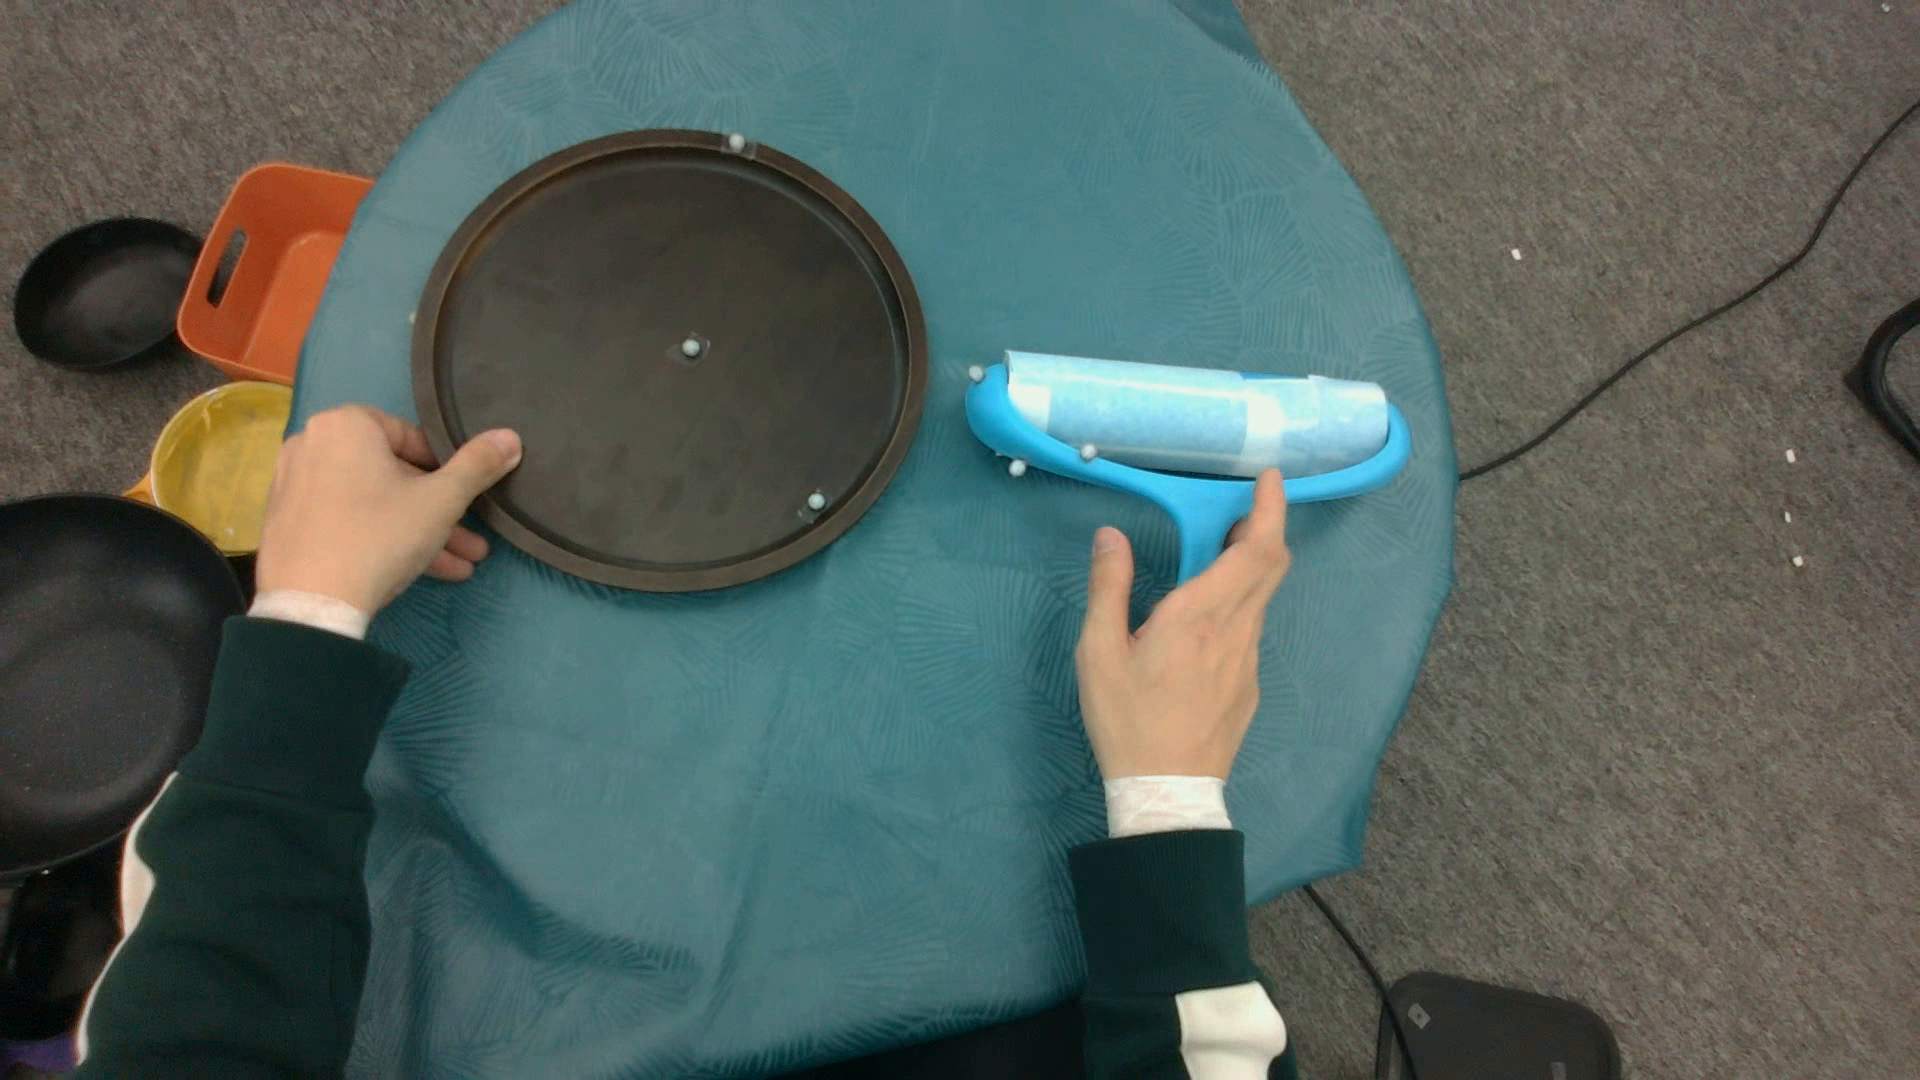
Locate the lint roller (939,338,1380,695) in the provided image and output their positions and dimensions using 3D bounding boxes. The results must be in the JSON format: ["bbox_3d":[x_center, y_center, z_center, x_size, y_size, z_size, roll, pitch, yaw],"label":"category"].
[{"bbox_3d":[0.106,-0.017,0.690,0.229,0.067,0.181,0,71,-9],"label":"lint roller"}]

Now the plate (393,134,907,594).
[{"bbox_3d":[-0.154,-0.092,0.699,0.255,0.029,0.255,2,70,-6],"label":"plate"}]
